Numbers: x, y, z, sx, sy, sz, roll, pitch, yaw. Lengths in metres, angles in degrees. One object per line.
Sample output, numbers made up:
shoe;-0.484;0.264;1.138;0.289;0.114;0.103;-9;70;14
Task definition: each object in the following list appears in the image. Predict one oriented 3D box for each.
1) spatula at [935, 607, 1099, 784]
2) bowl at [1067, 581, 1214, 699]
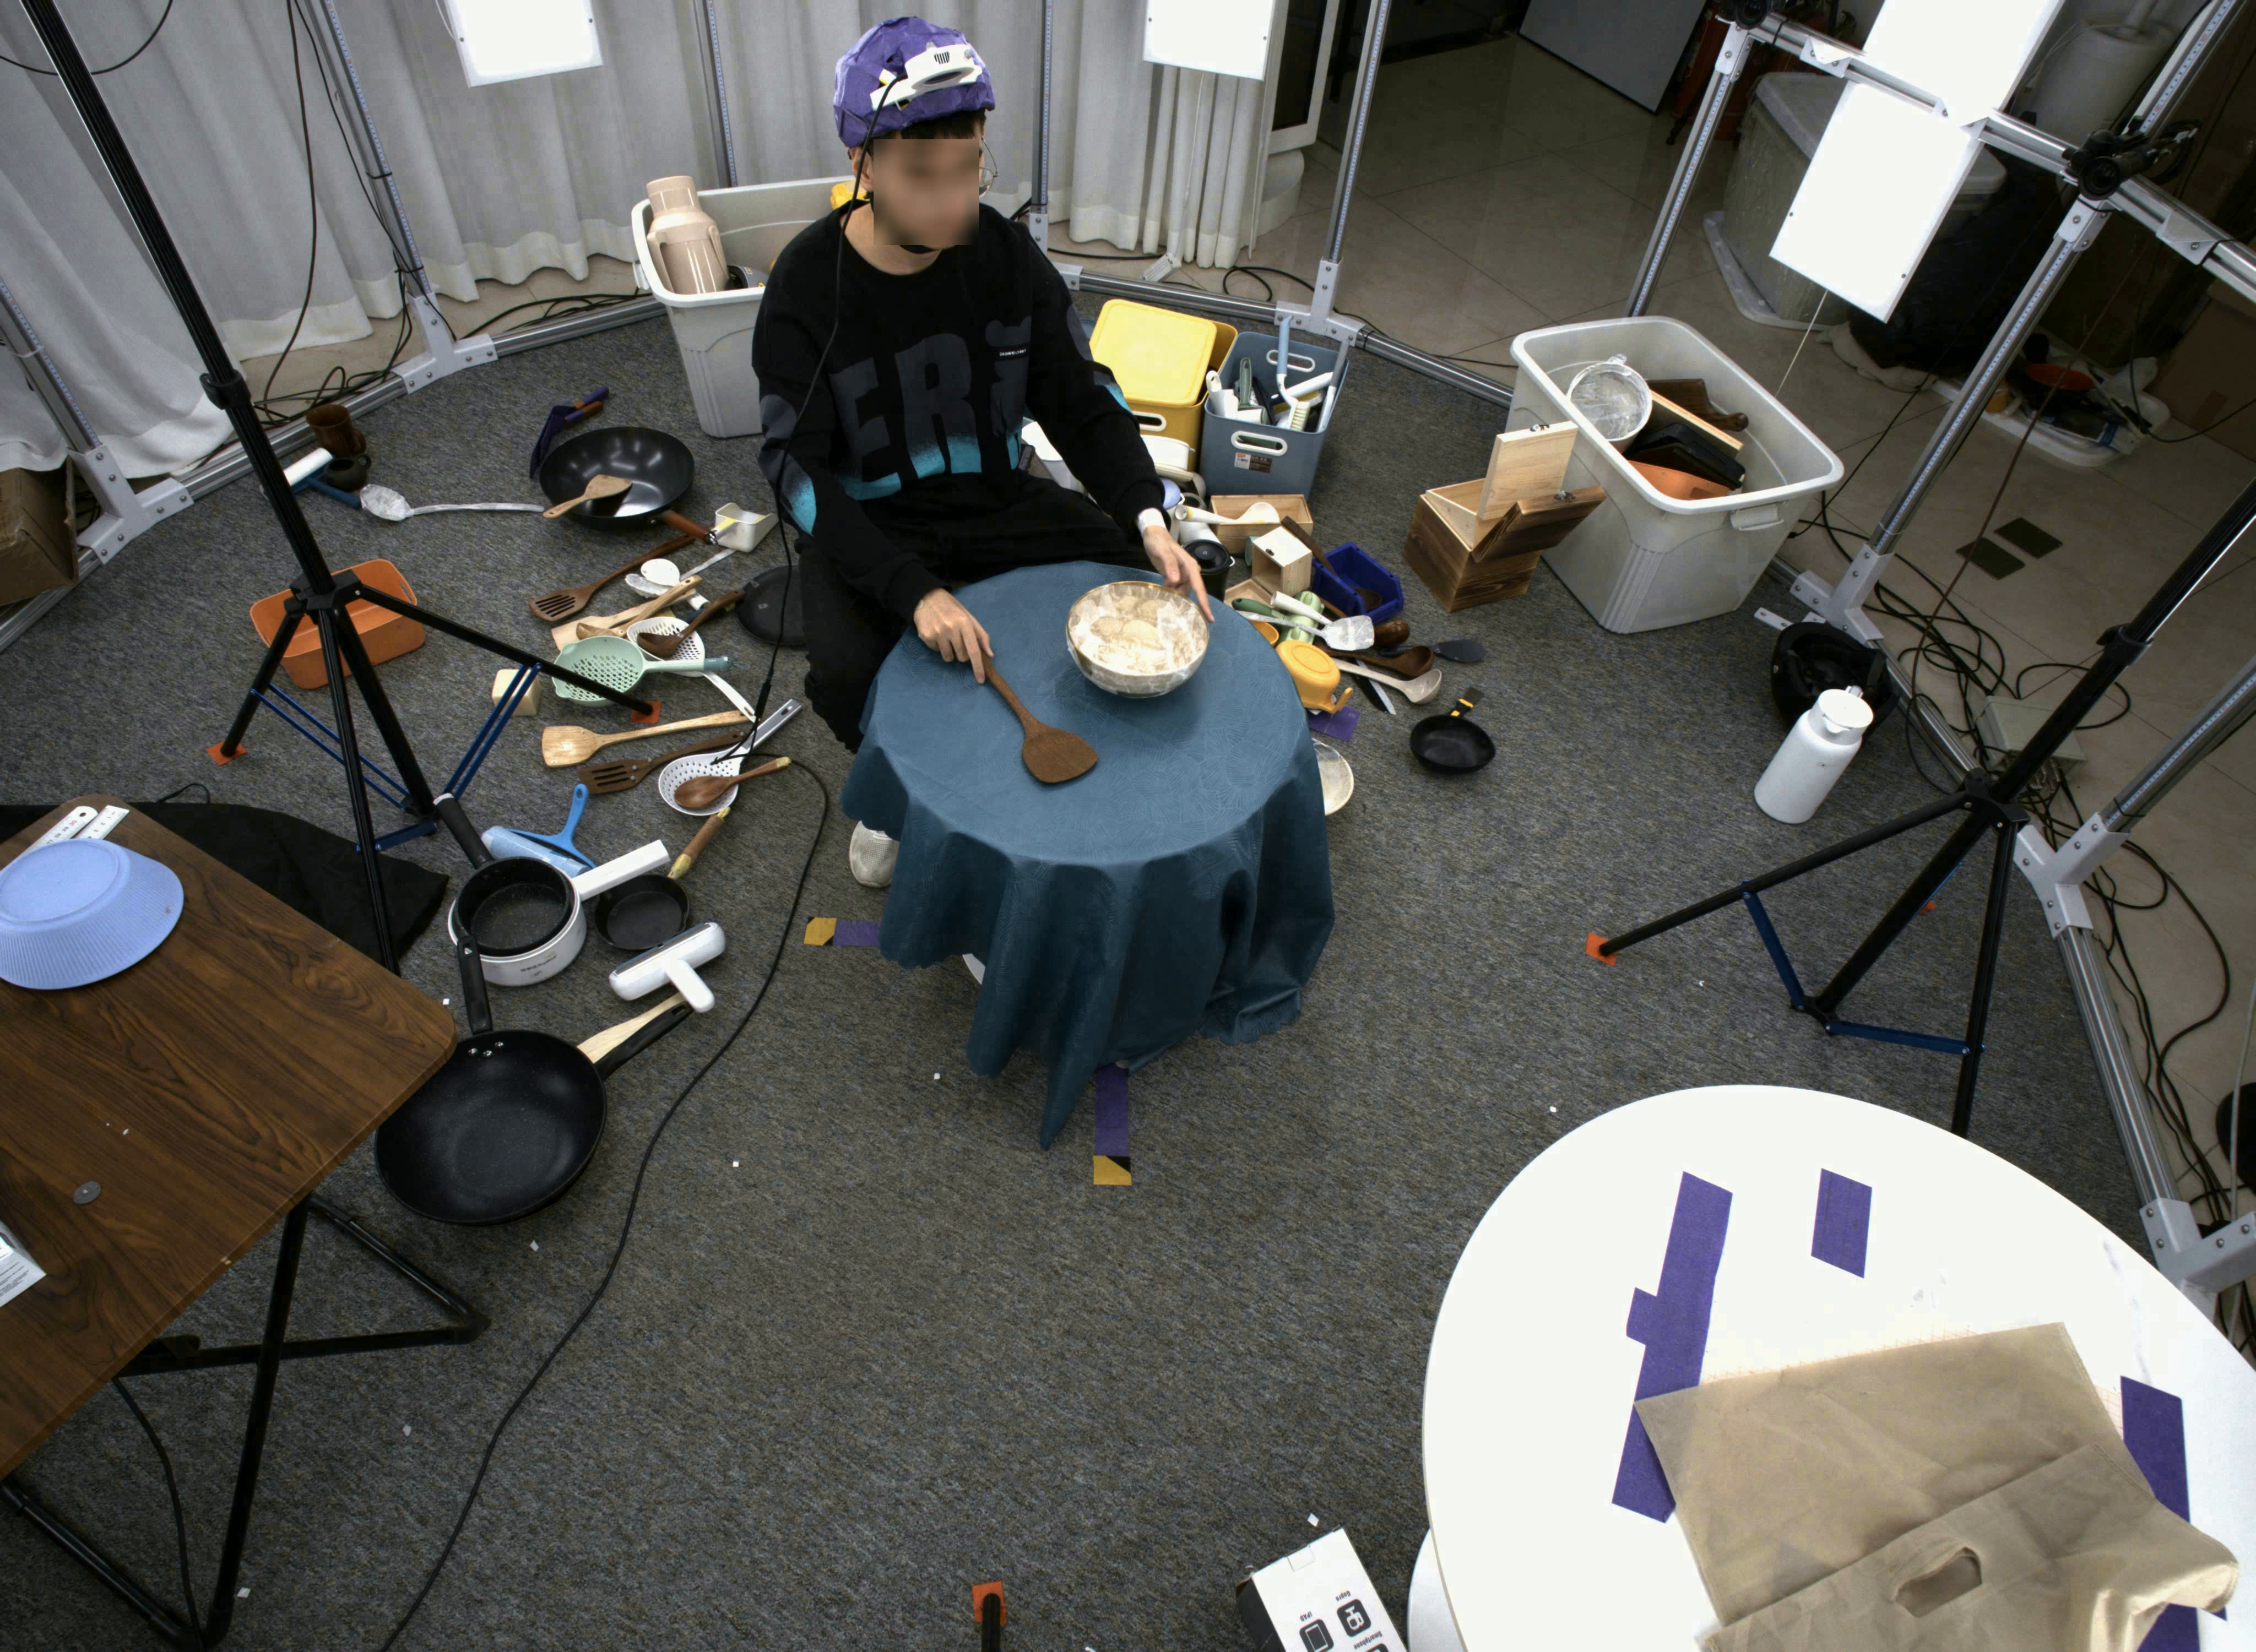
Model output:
spatula;-0.175;-0.196;1.827;0.096;0.015;0.393;-24;57;-24
bowl;0.014;-0.252;1.843;0.214;0.092;0.220;2;47;-2
